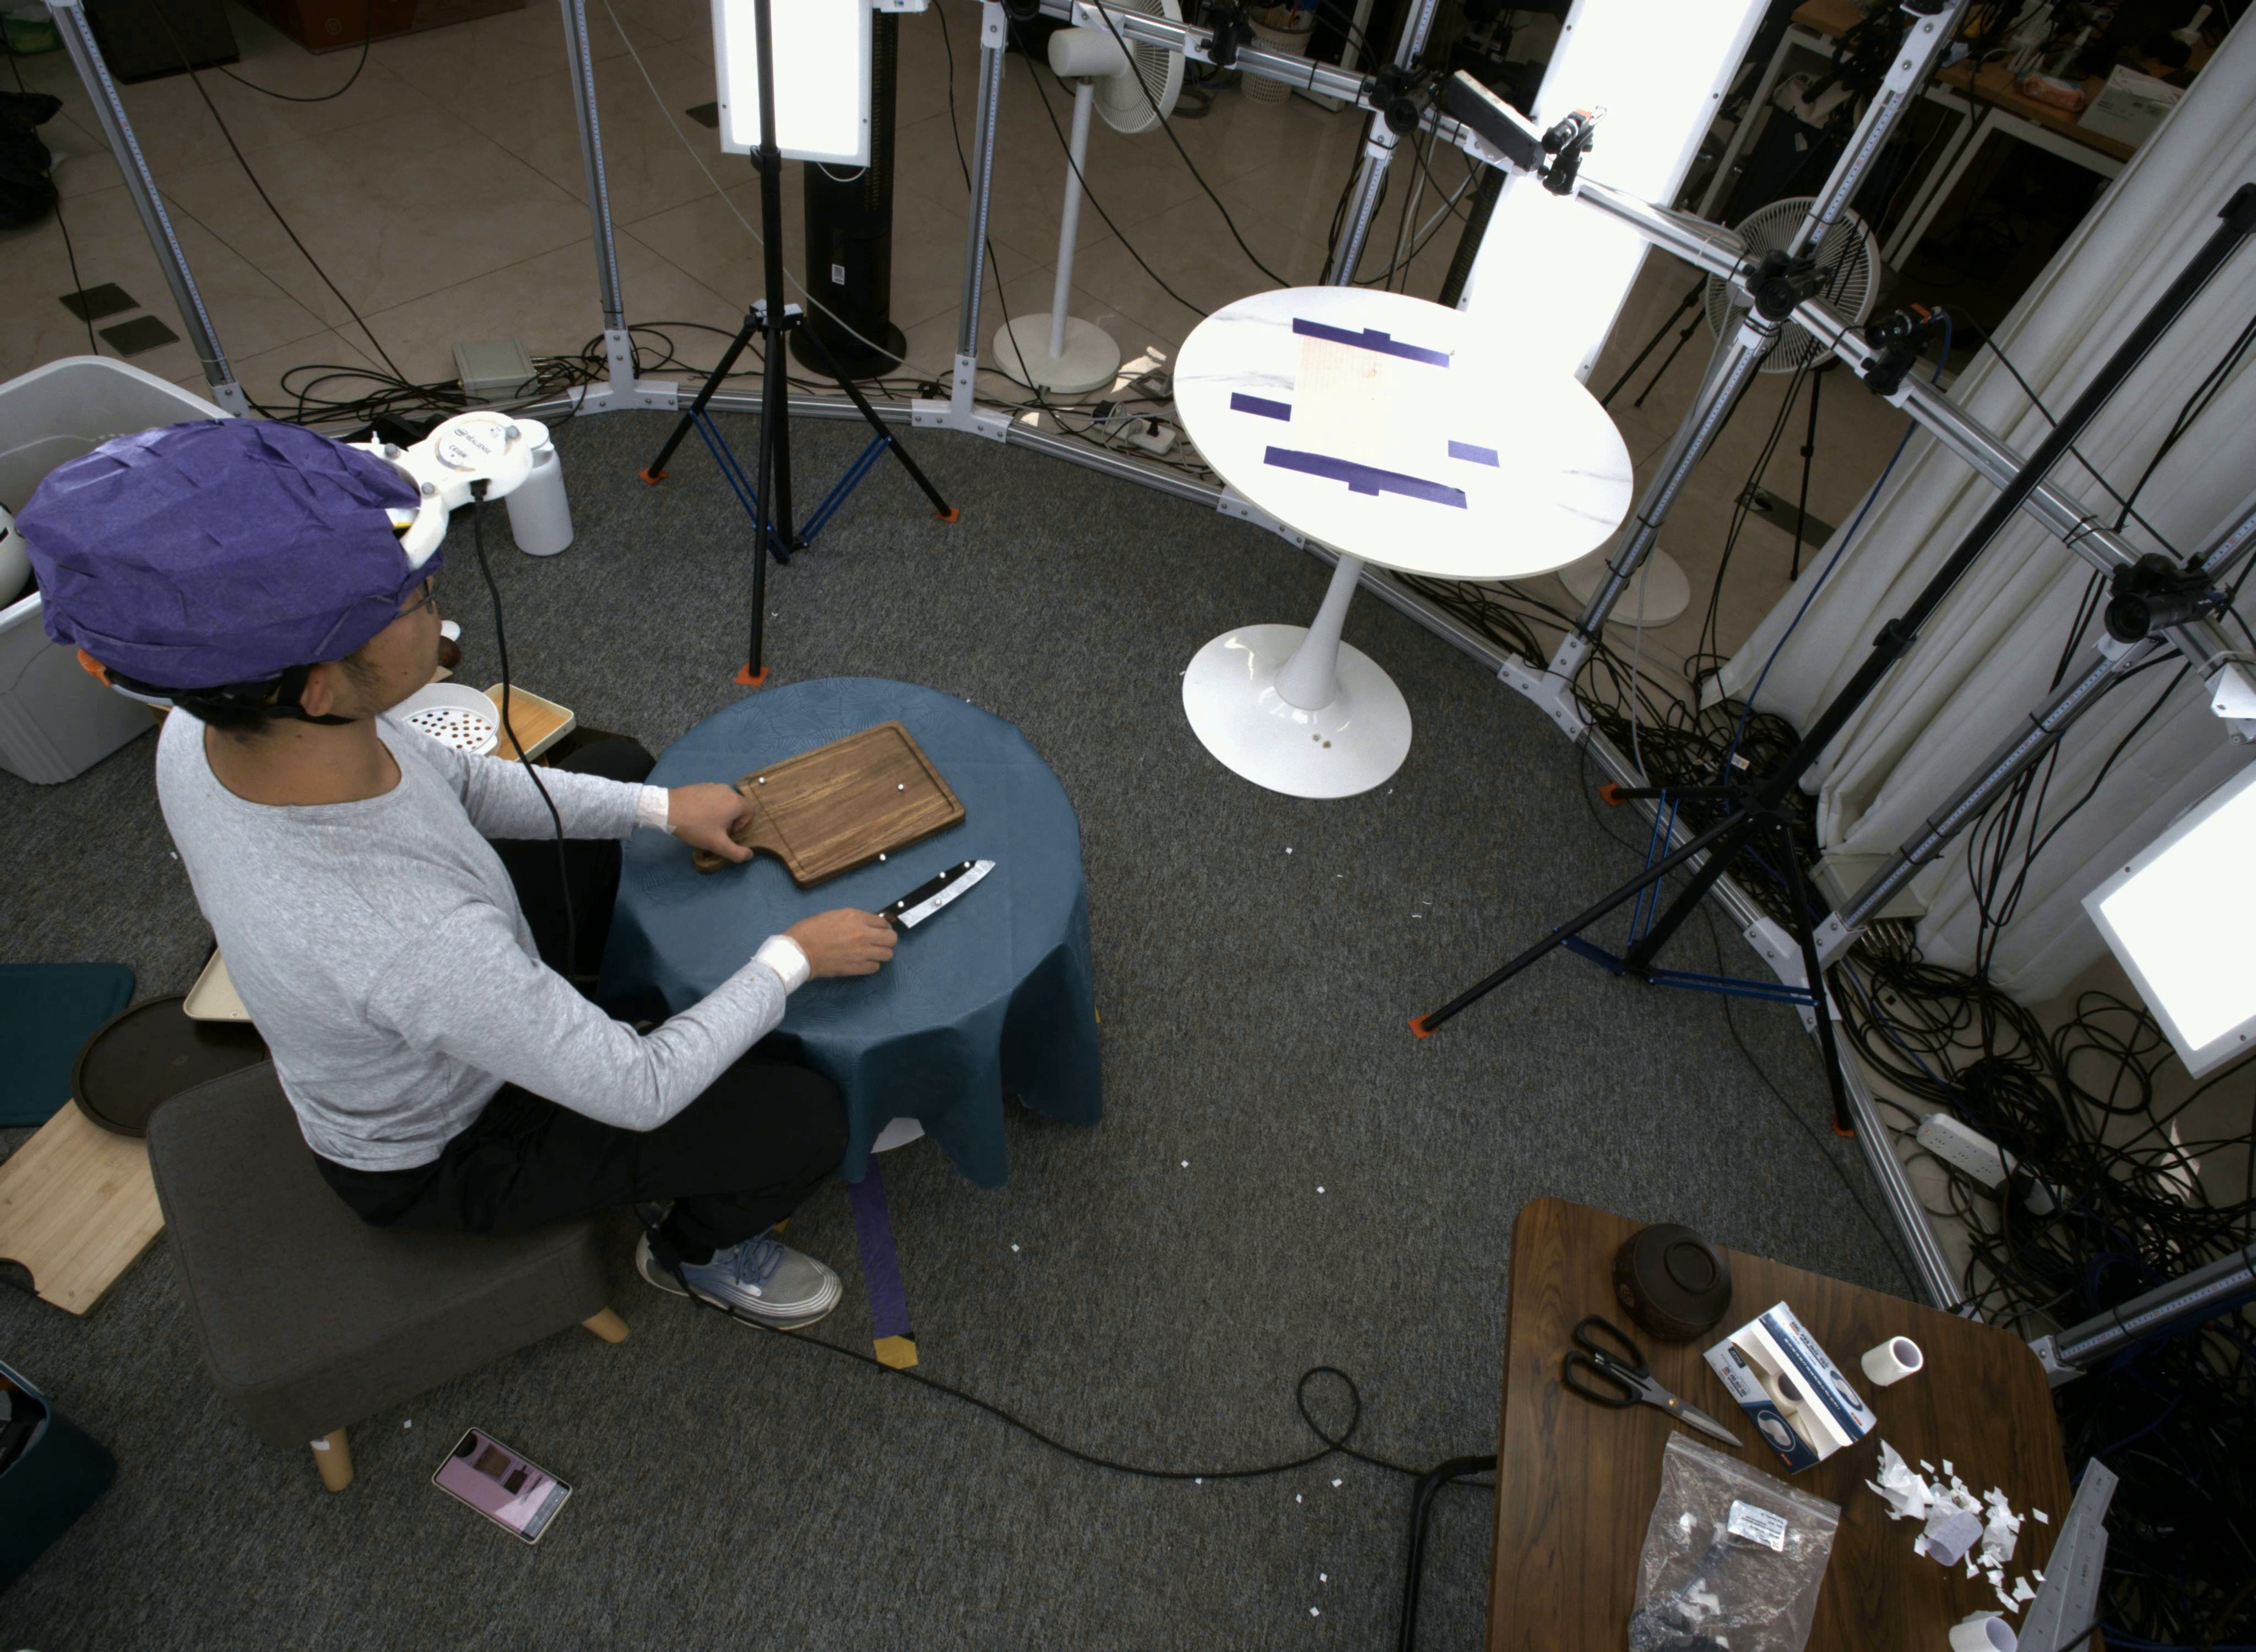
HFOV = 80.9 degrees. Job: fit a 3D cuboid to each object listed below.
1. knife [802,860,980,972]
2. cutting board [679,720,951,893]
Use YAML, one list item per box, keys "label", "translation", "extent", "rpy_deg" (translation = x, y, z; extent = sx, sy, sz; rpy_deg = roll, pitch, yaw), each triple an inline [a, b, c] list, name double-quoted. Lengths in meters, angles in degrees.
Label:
- label: "knife"
  translation: [-0.296, 0.107, 1.665]
  extent: [0.049, 0.020, 0.290]
  rpy_deg: [41, 48, 19]
- label: "cutting board"
  translation: [-0.433, -0.014, 1.730]
  extent: [0.354, 0.023, 0.196]
  rpy_deg: [-26, 63, -29]
